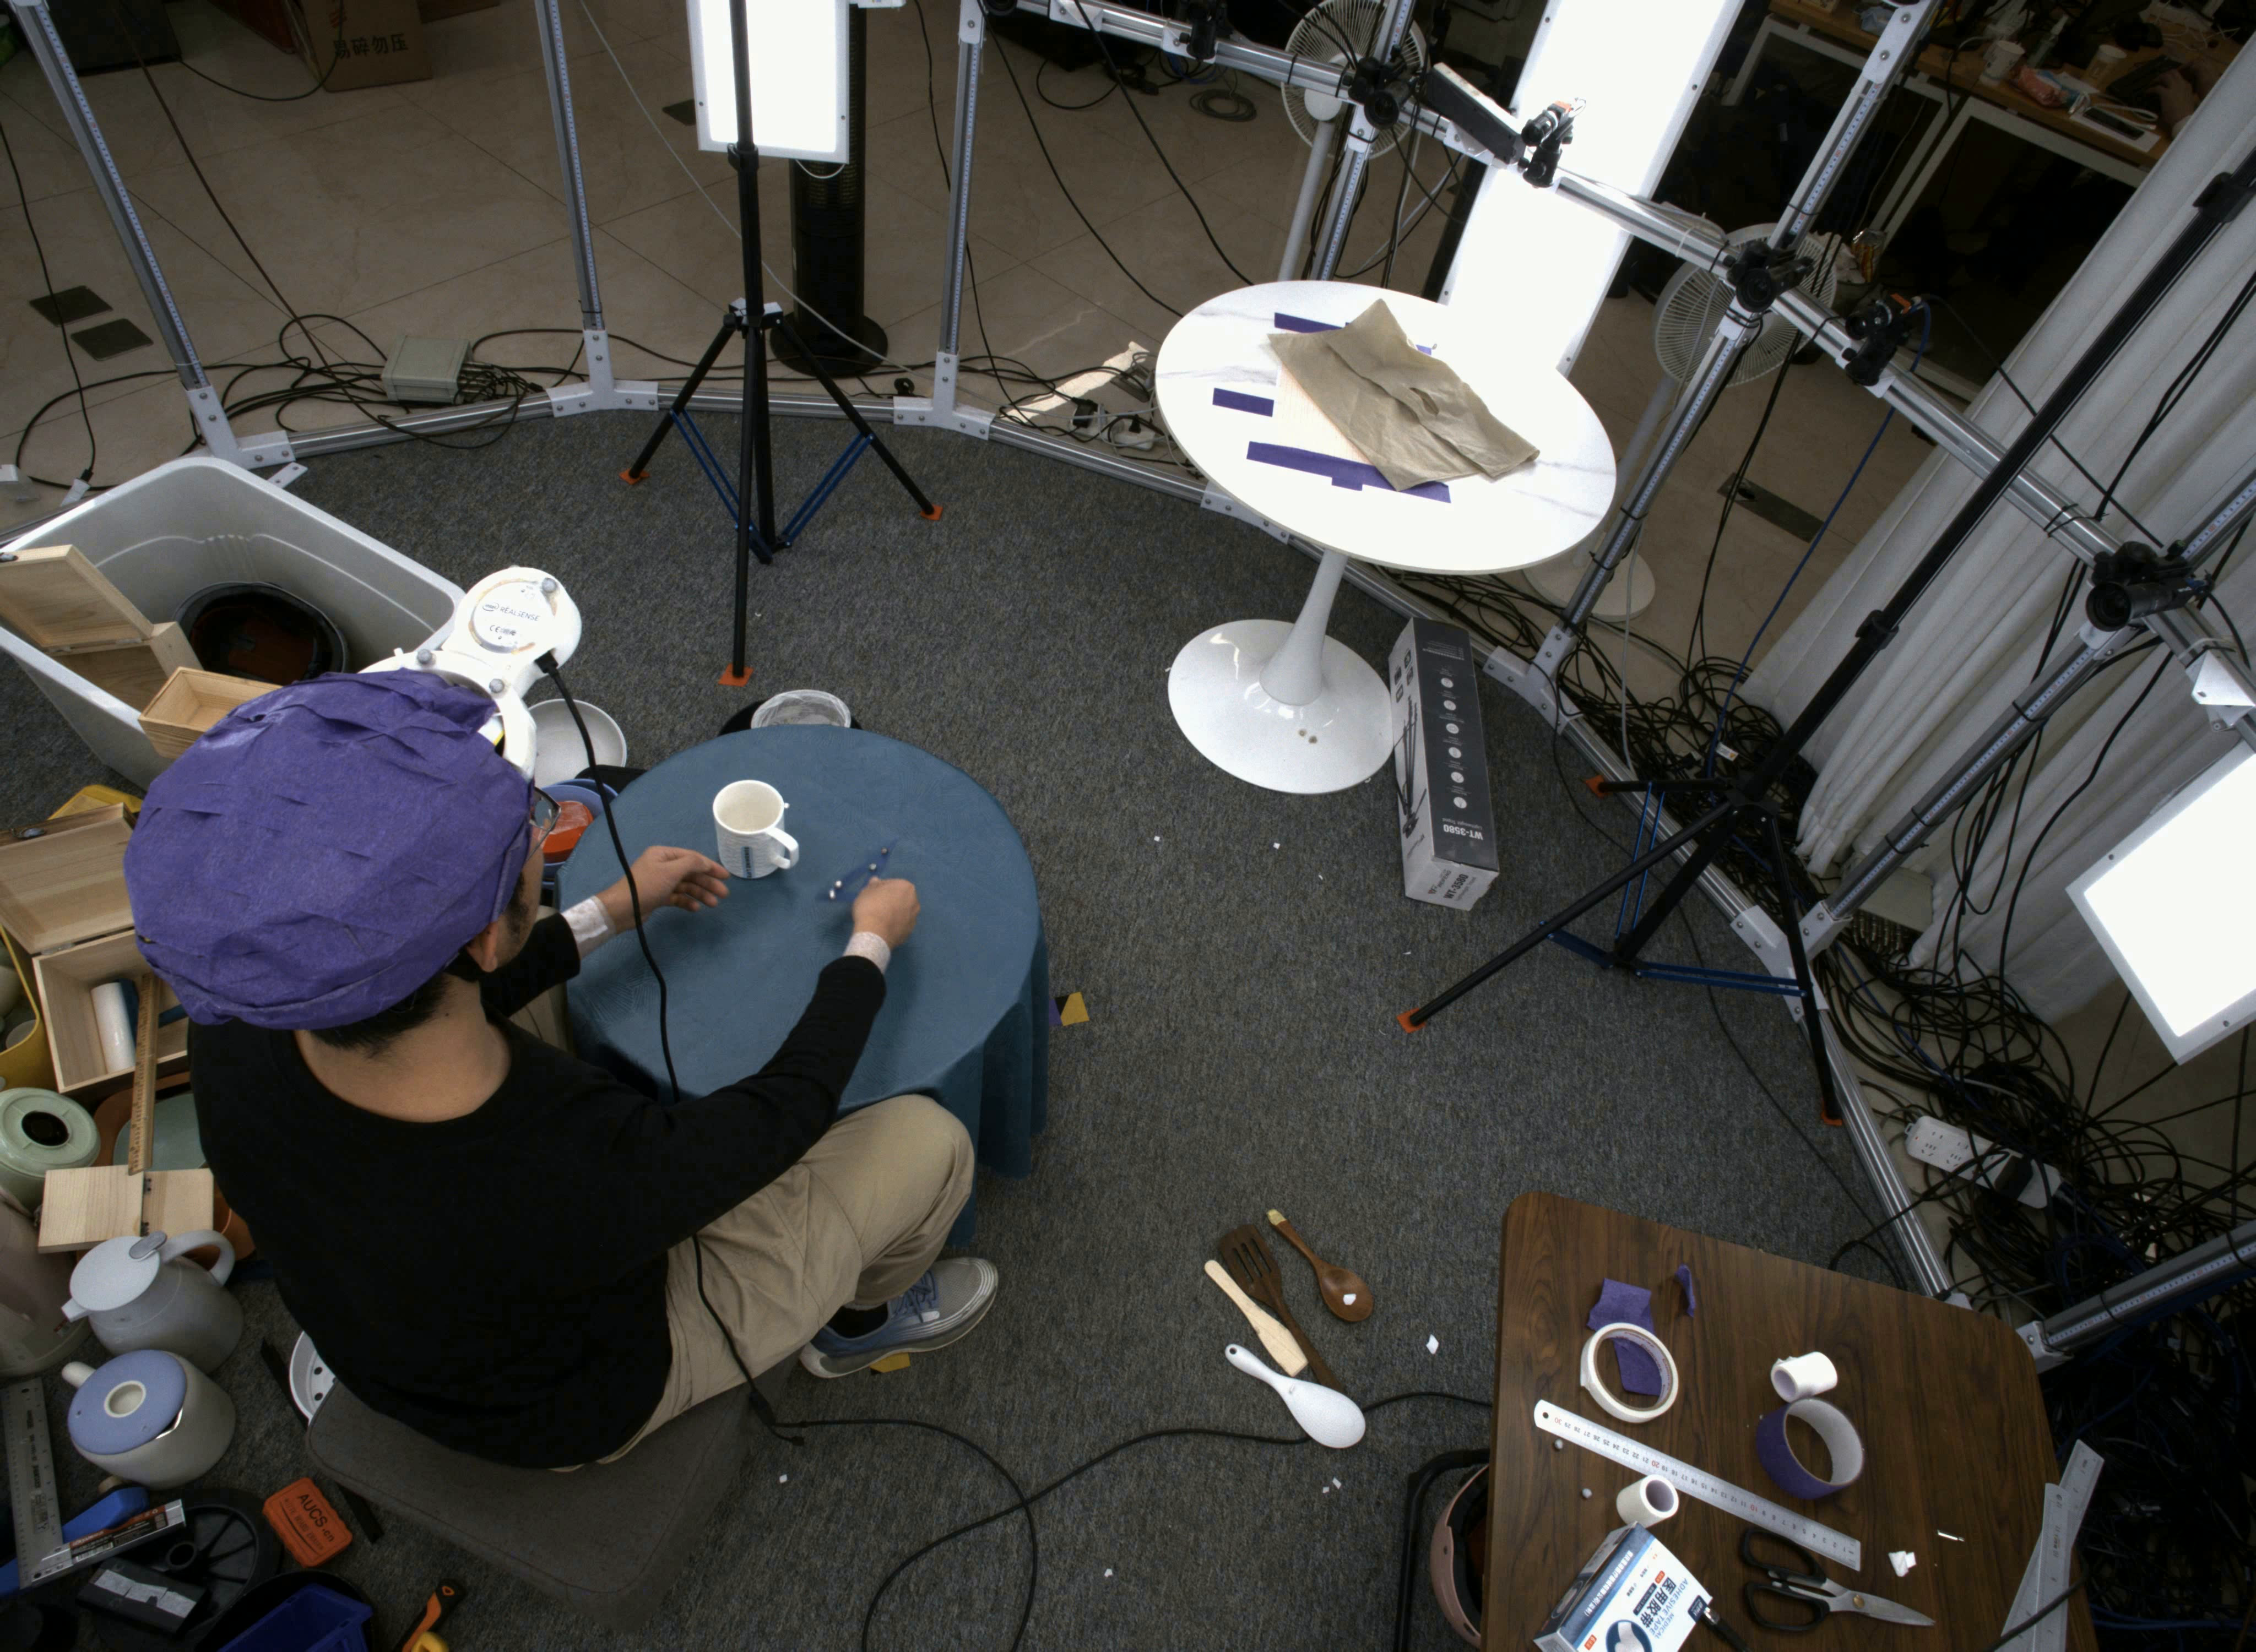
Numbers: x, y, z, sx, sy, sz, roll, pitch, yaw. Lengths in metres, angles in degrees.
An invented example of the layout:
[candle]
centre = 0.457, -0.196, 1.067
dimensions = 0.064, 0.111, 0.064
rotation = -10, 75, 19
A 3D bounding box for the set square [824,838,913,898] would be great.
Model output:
[set square]
centre = -0.312, 0.055, 1.626
dimensions = 0.132, 0.007, 0.059
rotation = -34, 49, -30

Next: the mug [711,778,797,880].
[mug]
centre = -0.466, 0.012, 1.632
dimensions = 0.116, 0.104, 0.084
rotation = 30, 52, 11
